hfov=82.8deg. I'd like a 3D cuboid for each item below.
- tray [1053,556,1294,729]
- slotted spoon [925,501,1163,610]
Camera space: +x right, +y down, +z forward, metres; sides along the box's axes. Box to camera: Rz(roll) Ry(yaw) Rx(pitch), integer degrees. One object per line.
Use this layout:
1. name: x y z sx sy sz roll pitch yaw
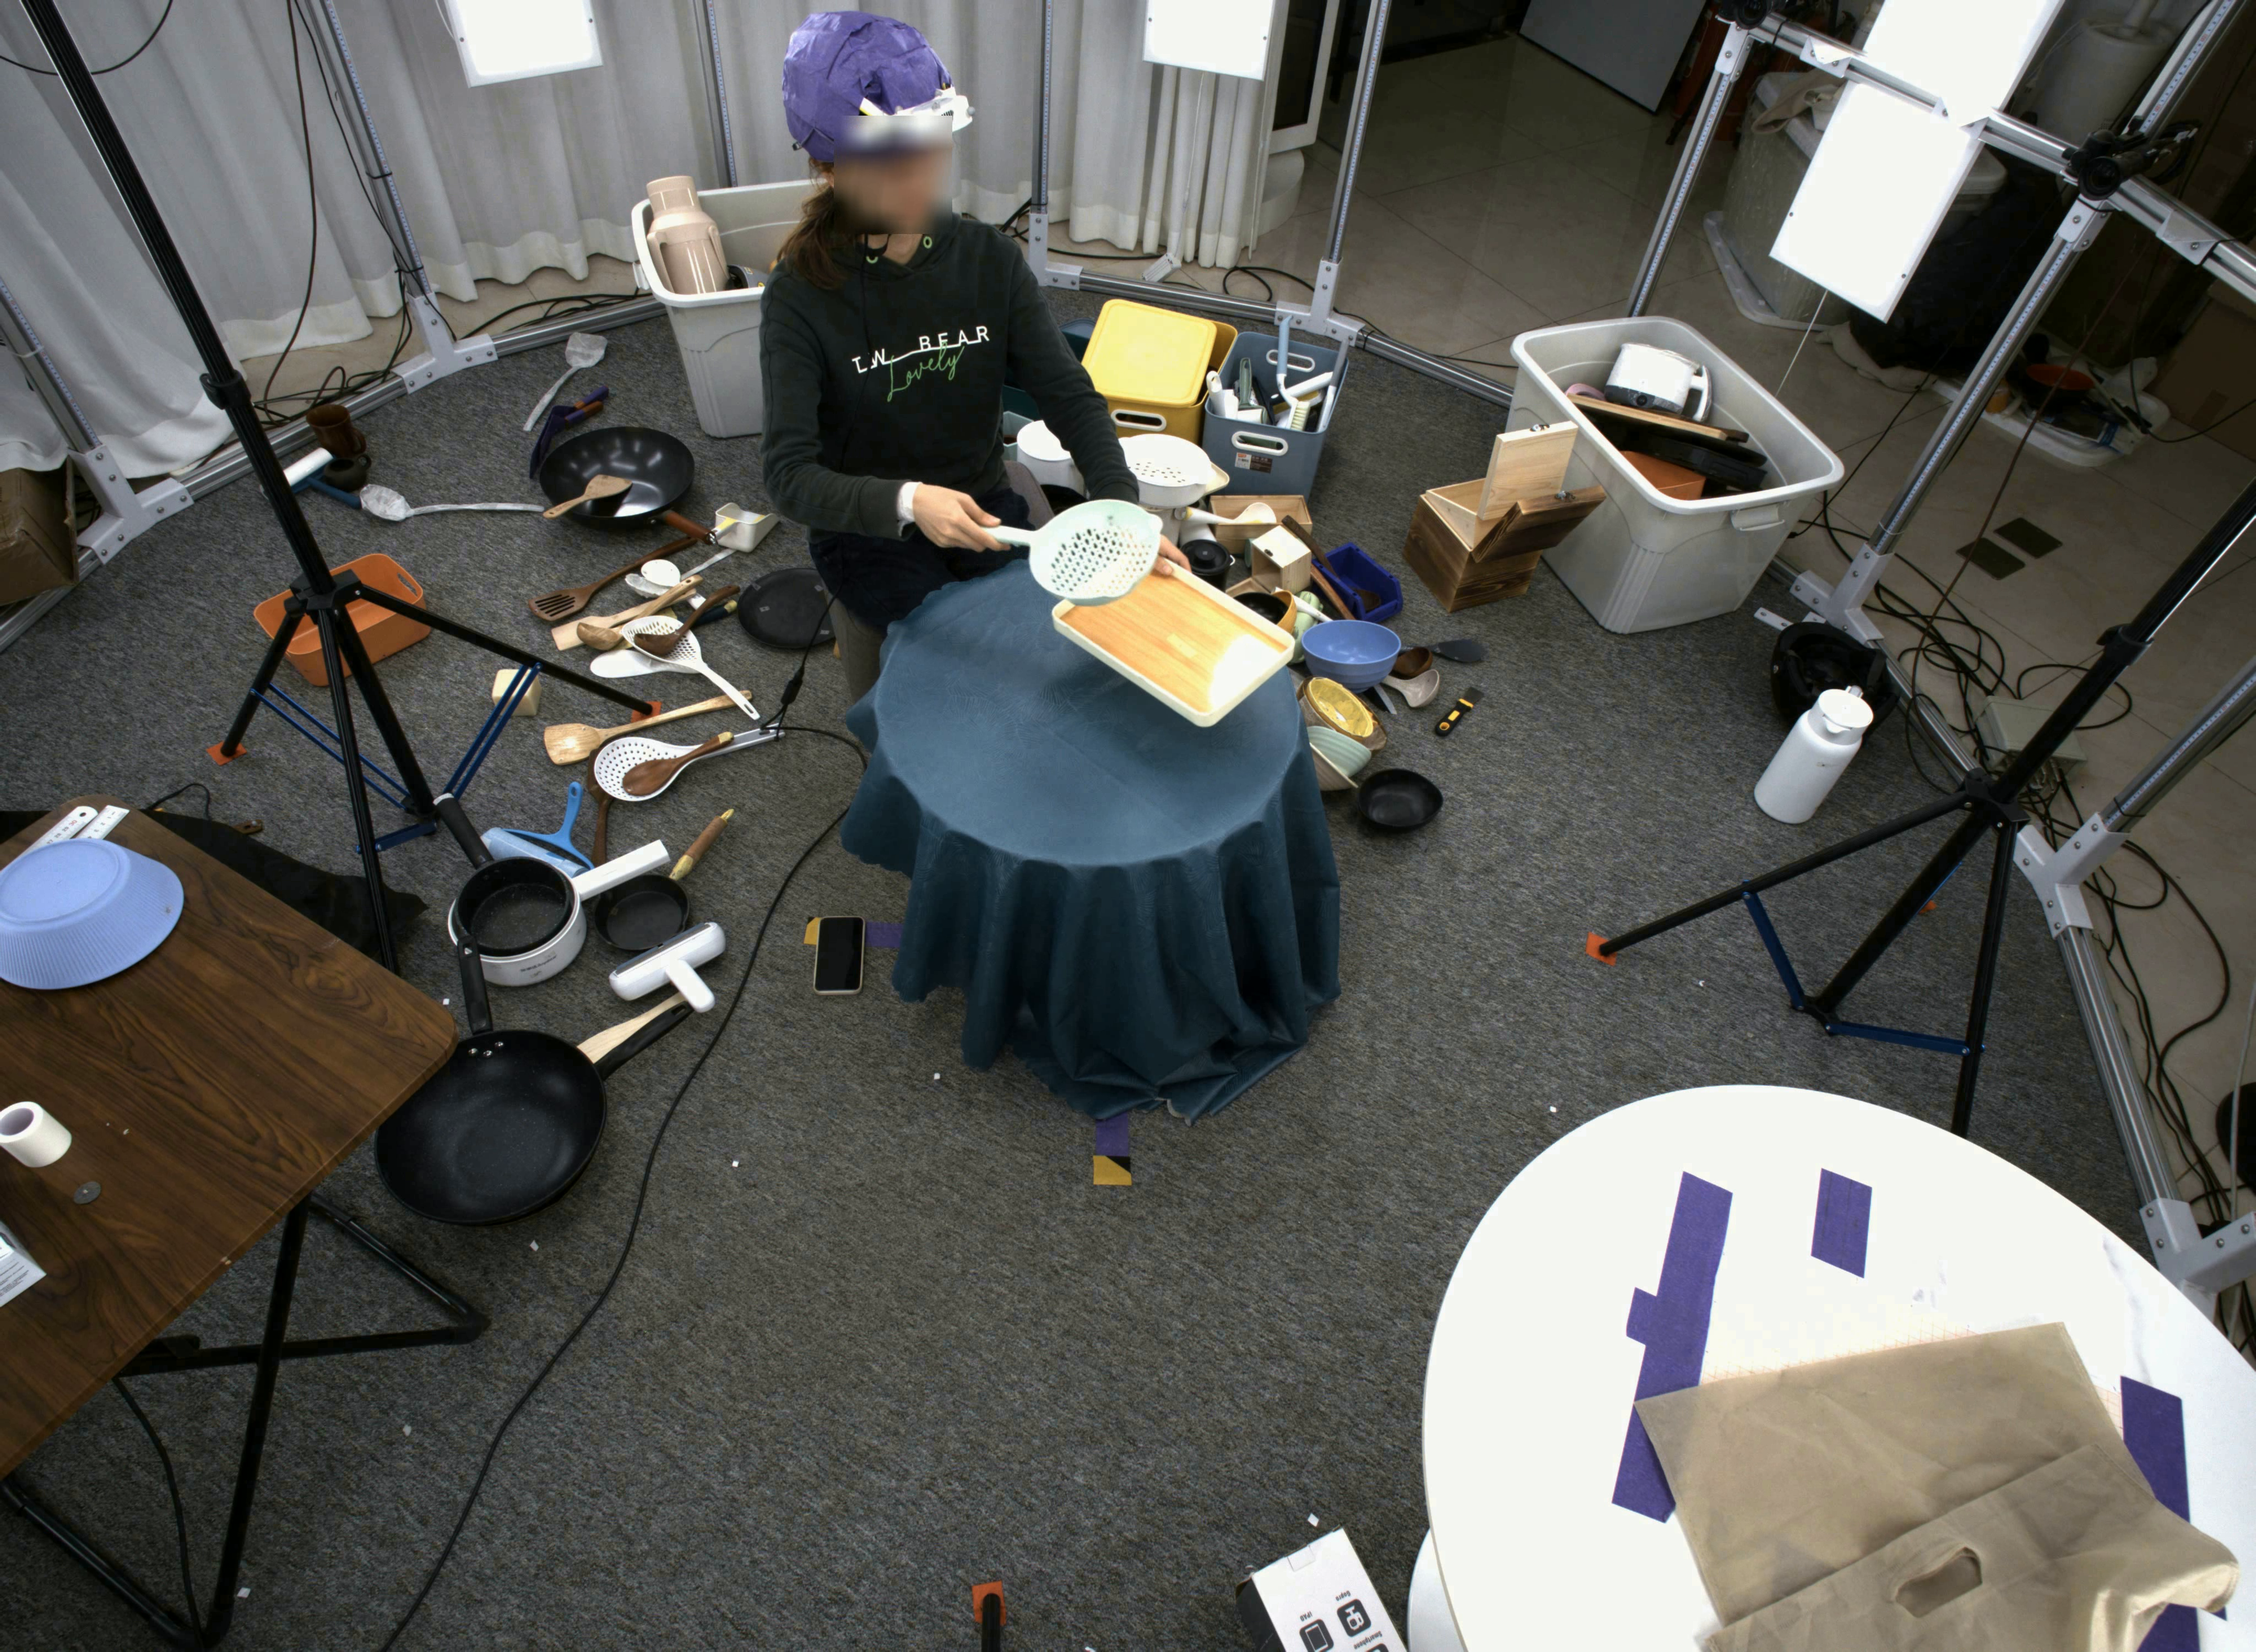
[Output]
1. tray: 0.061 -0.264 1.779 0.193 0.027 0.305 -39 59 -24
2. slotted spoon: -0.124 -0.373 1.715 0.361 0.073 0.172 19 64 18
